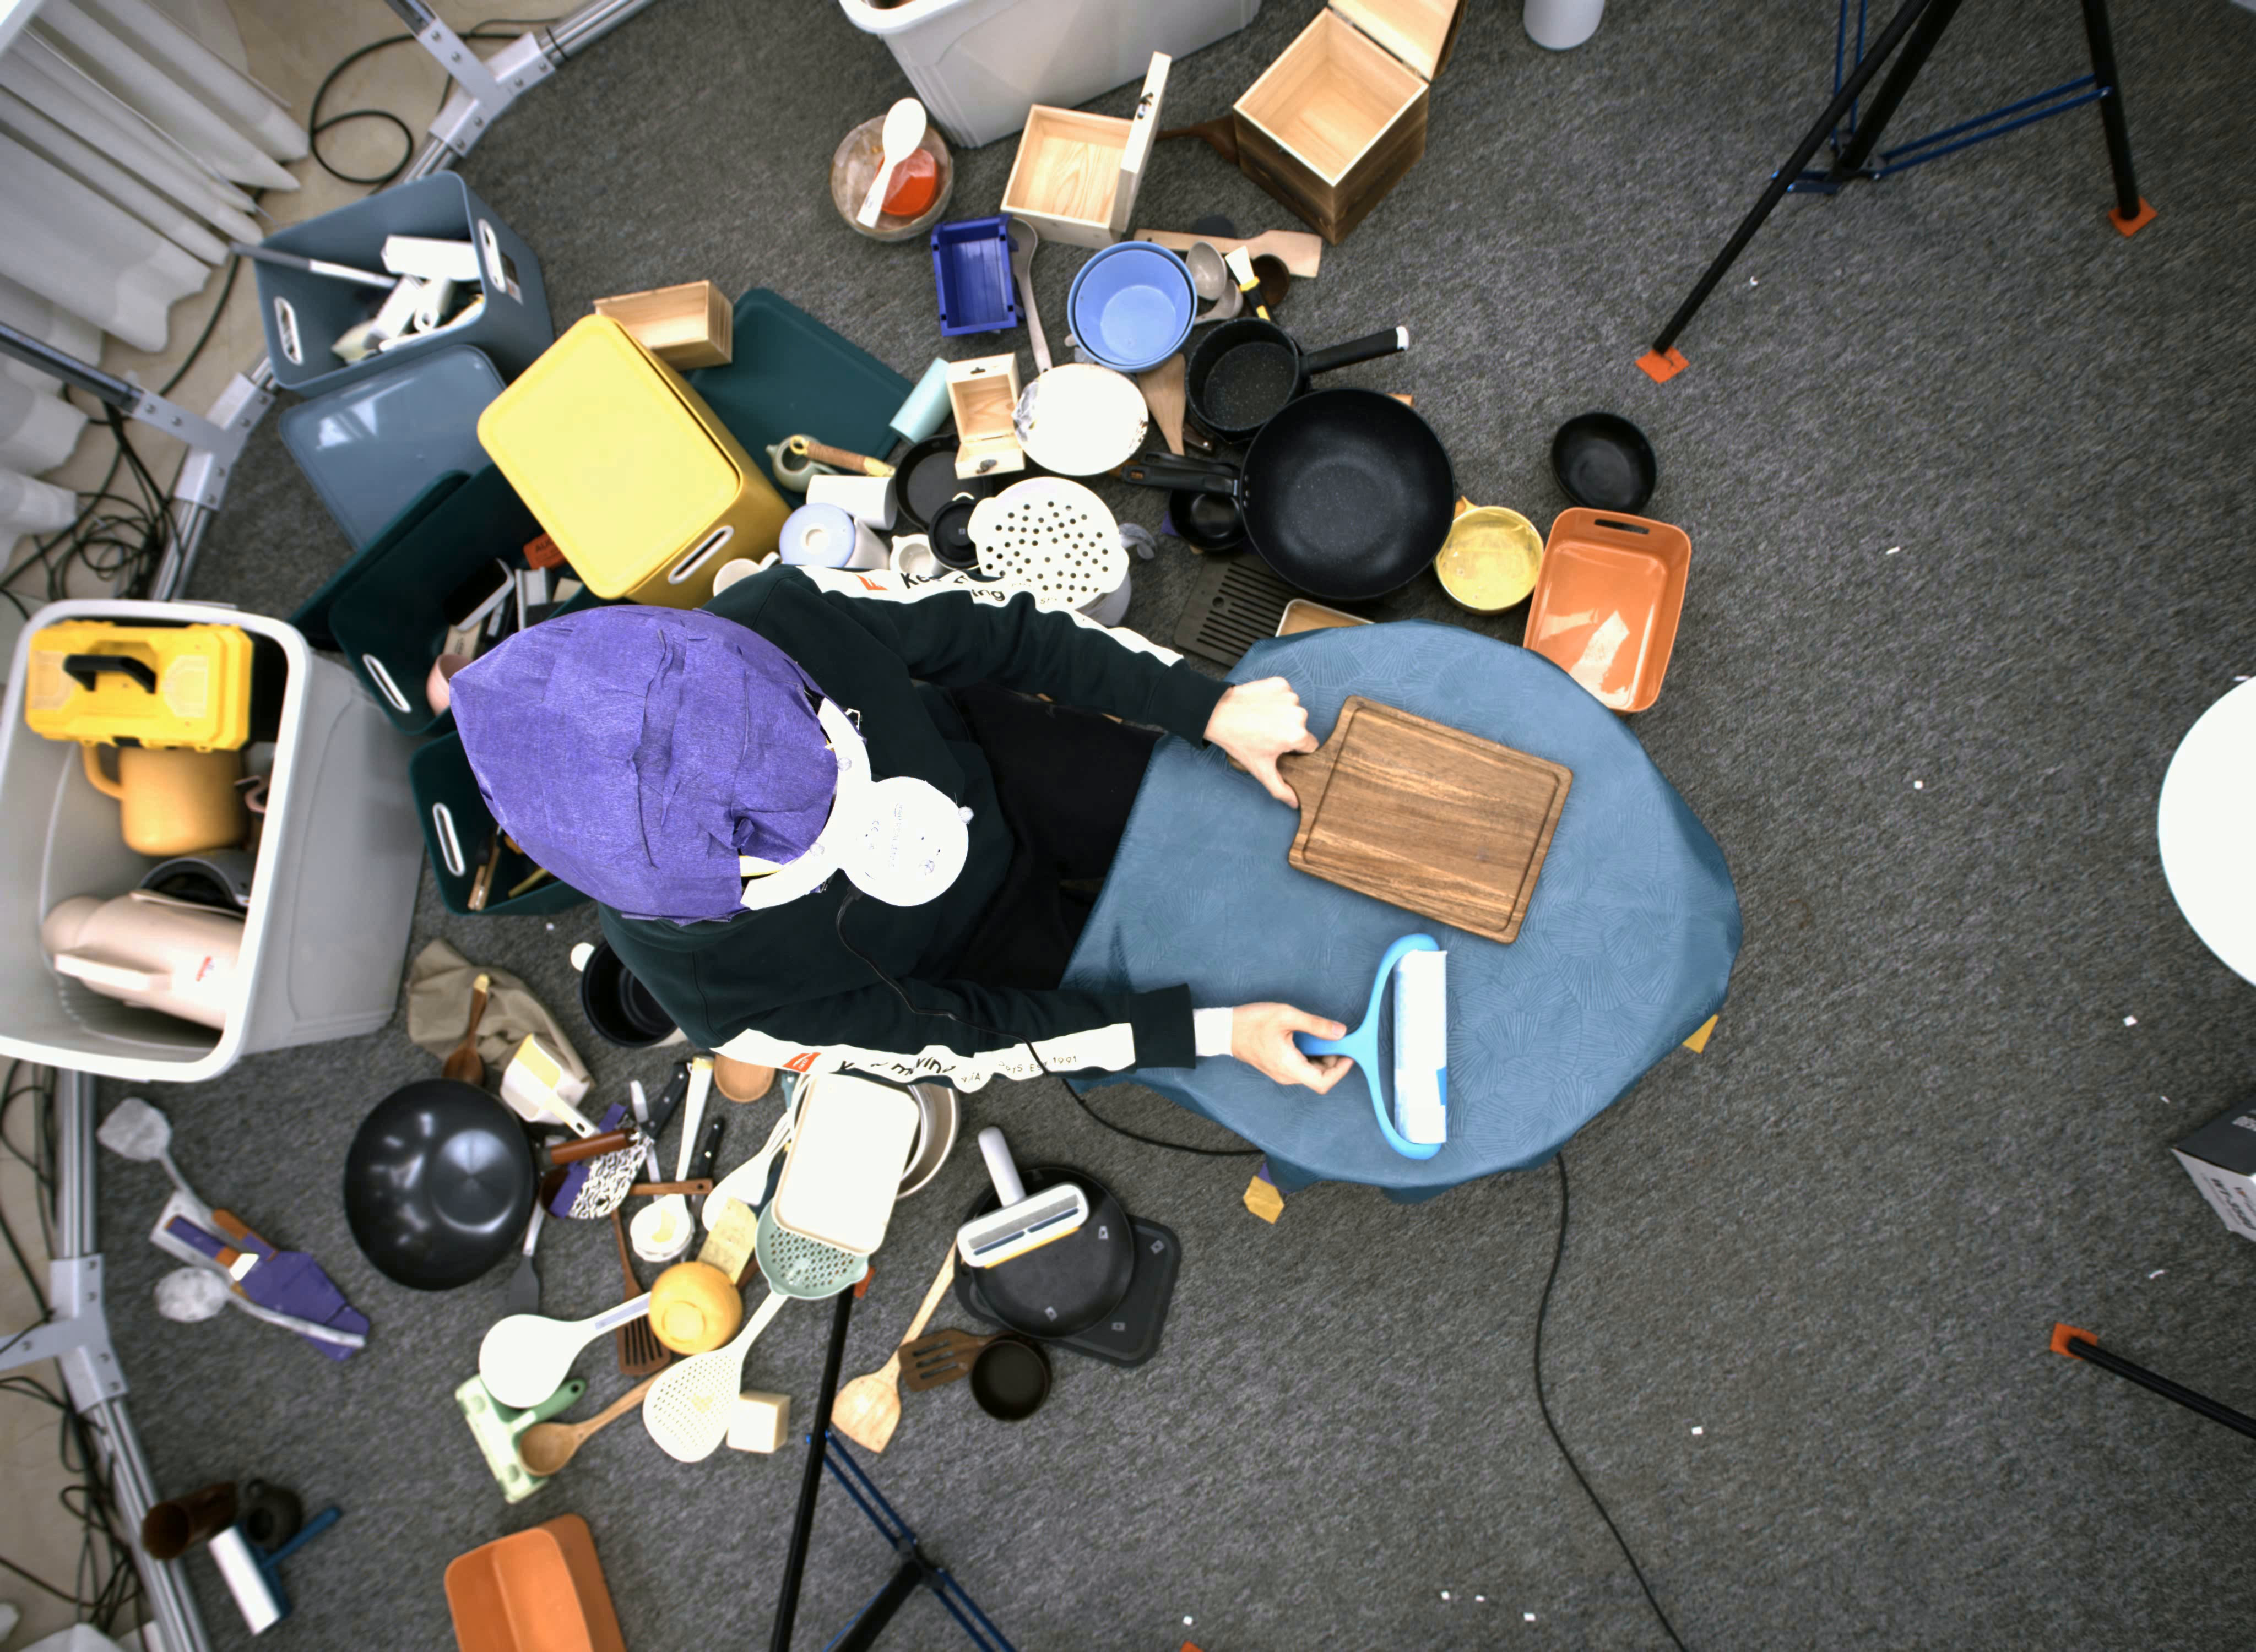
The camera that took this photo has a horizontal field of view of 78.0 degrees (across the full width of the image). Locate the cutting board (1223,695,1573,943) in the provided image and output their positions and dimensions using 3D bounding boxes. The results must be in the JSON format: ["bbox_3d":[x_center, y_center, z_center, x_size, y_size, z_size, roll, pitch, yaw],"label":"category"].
[{"bbox_3d":[0.268,-0.026,1.444,0.352,0.023,0.201,19,90,9],"label":"cutting board"}]

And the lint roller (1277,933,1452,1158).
[{"bbox_3d":[0.243,0.226,1.424,0.181,0.068,0.228,-3,88,9],"label":"lint roller"}]
